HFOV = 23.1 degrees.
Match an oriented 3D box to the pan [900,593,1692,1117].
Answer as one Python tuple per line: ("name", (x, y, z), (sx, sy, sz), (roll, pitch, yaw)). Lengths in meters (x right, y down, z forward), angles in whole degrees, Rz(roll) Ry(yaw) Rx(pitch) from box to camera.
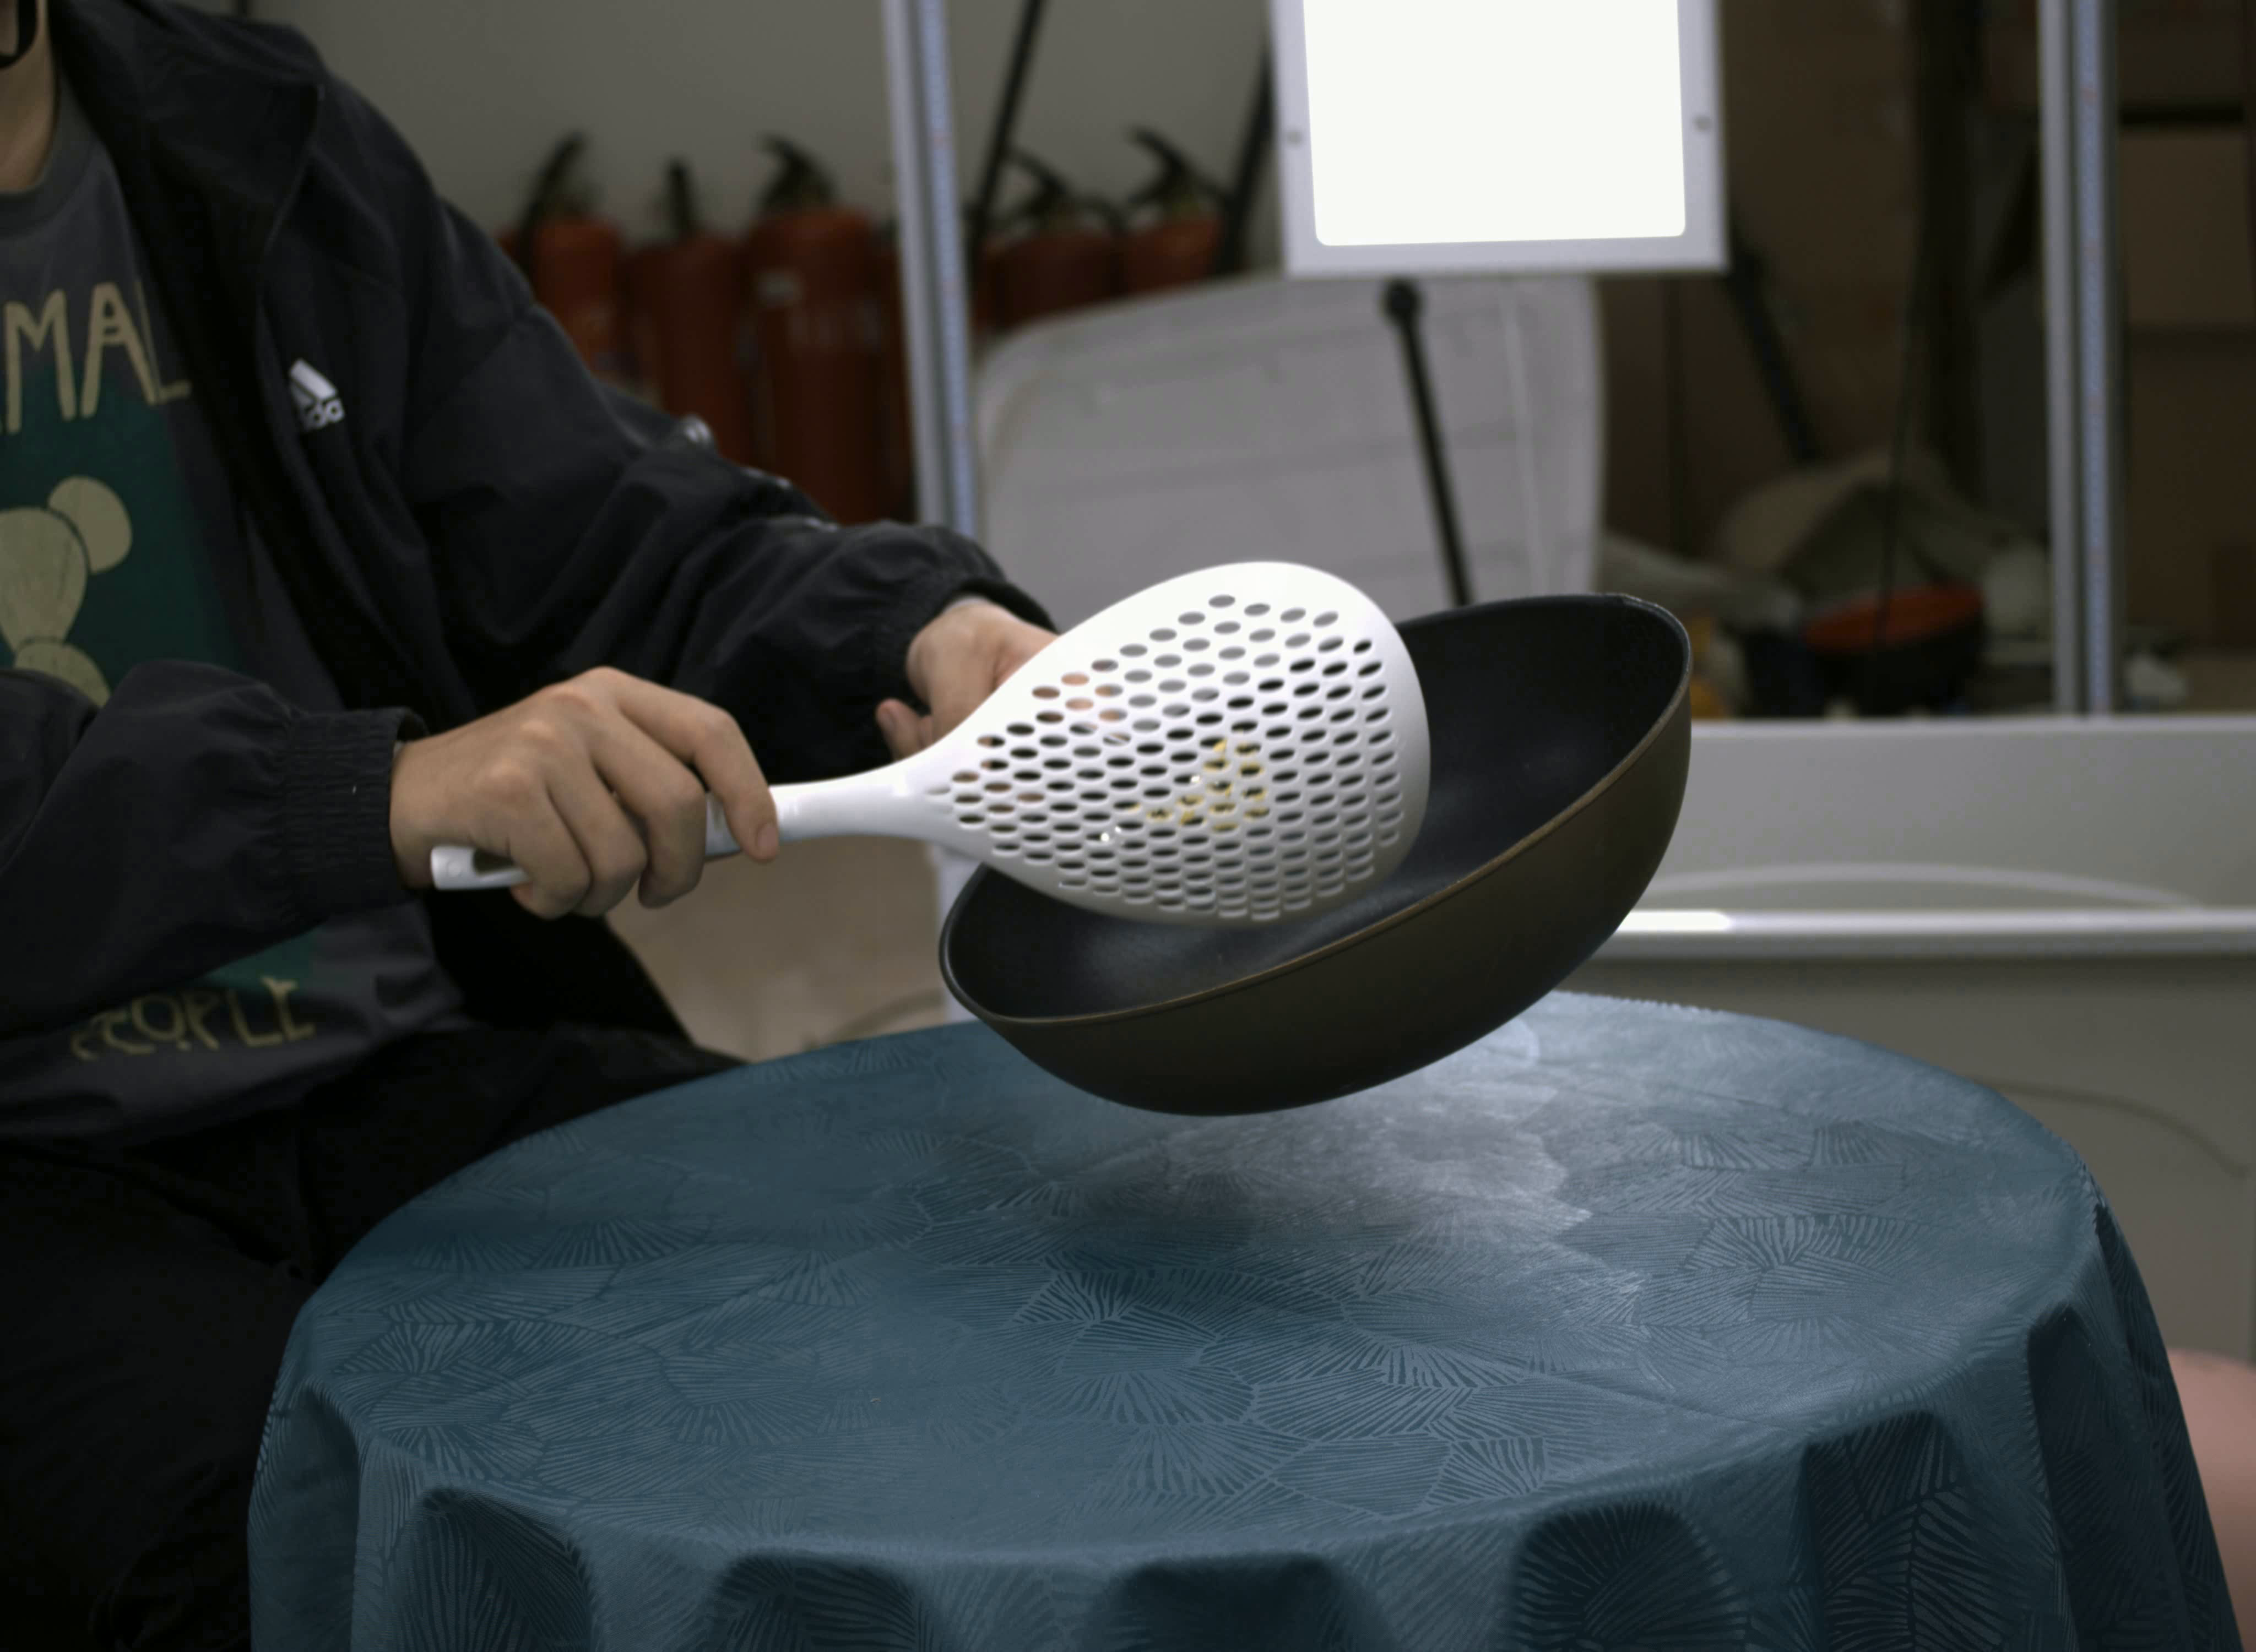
("pan", (0.033, 0.011, 1.974), (0.284, 0.086, 0.471), (-33, 20, -20))

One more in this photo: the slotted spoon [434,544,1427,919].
("slotted spoon", (-0.066, -0.011, 1.910), (0.348, 0.137, 0.050), (-8, 21, 3))
